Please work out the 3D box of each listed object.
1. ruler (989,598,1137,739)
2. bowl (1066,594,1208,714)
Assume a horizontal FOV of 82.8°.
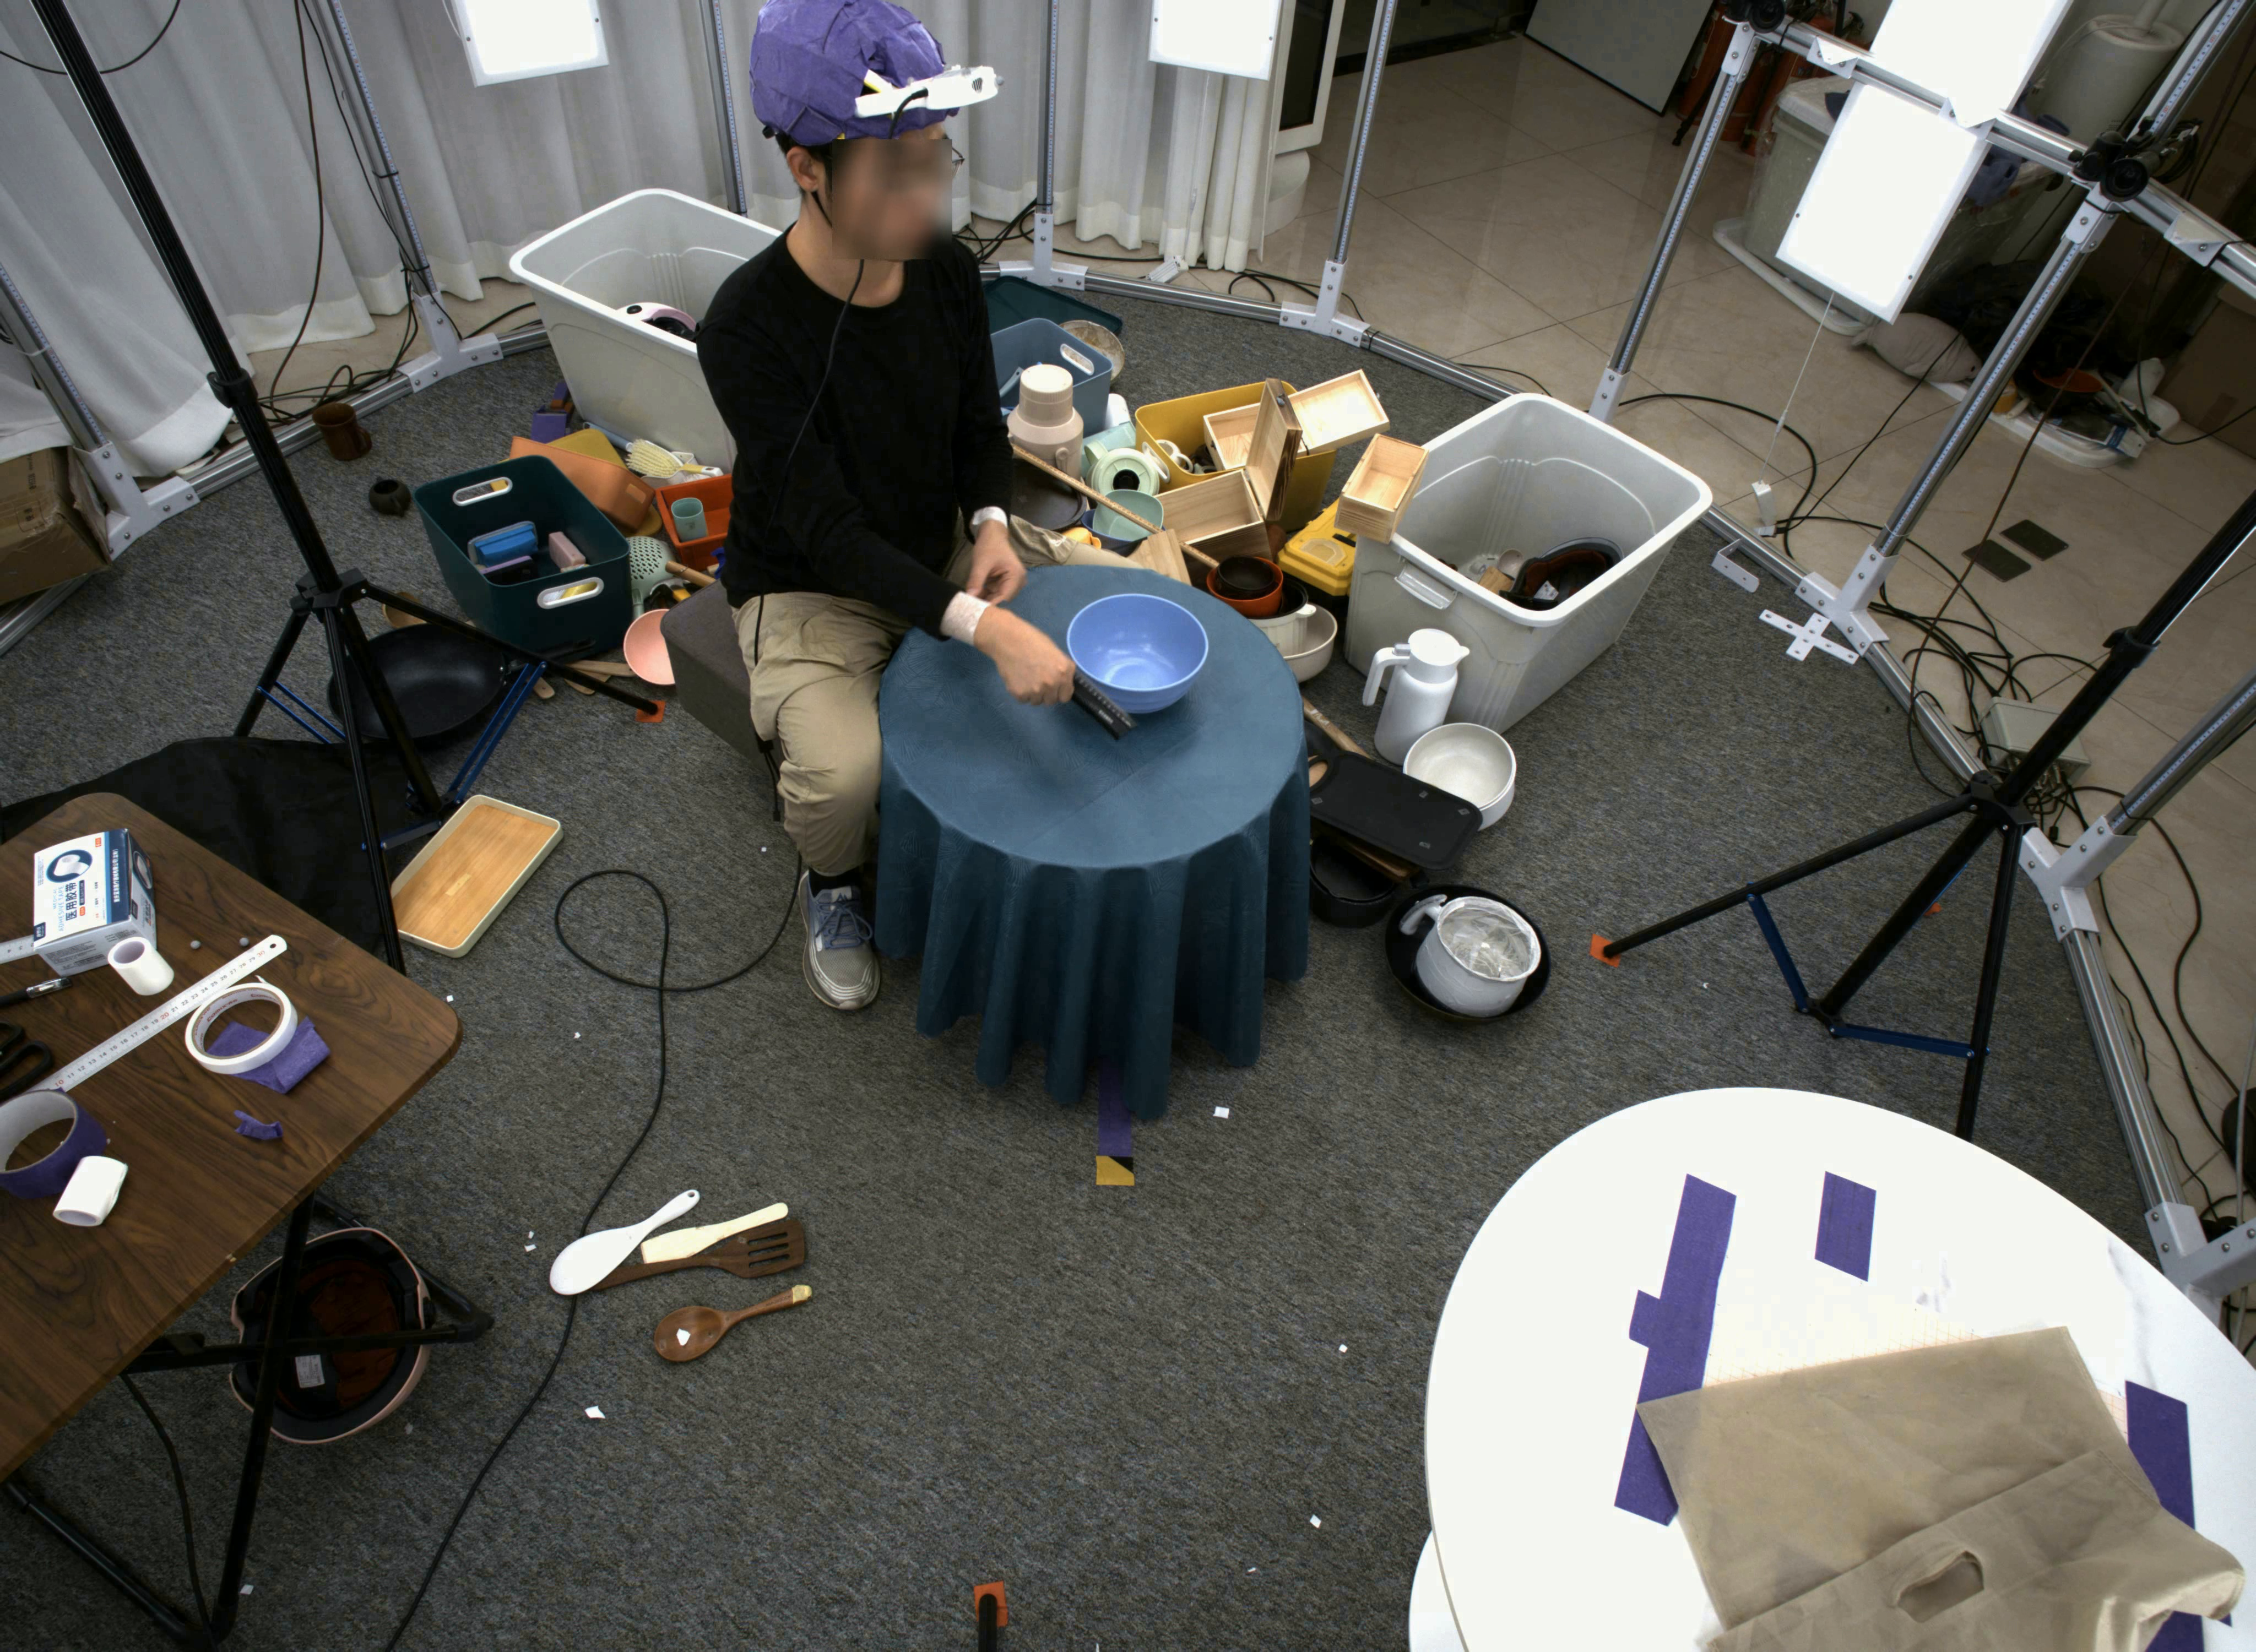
[{"bbox_3d":[-0.091,-0.218,1.697,0.039,0.017,0.319,-32,54,-15],"label":"ruler"},{"bbox_3d":[0.010,-0.227,1.806,0.196,0.093,0.201,2,49,-3],"label":"bowl"}]
